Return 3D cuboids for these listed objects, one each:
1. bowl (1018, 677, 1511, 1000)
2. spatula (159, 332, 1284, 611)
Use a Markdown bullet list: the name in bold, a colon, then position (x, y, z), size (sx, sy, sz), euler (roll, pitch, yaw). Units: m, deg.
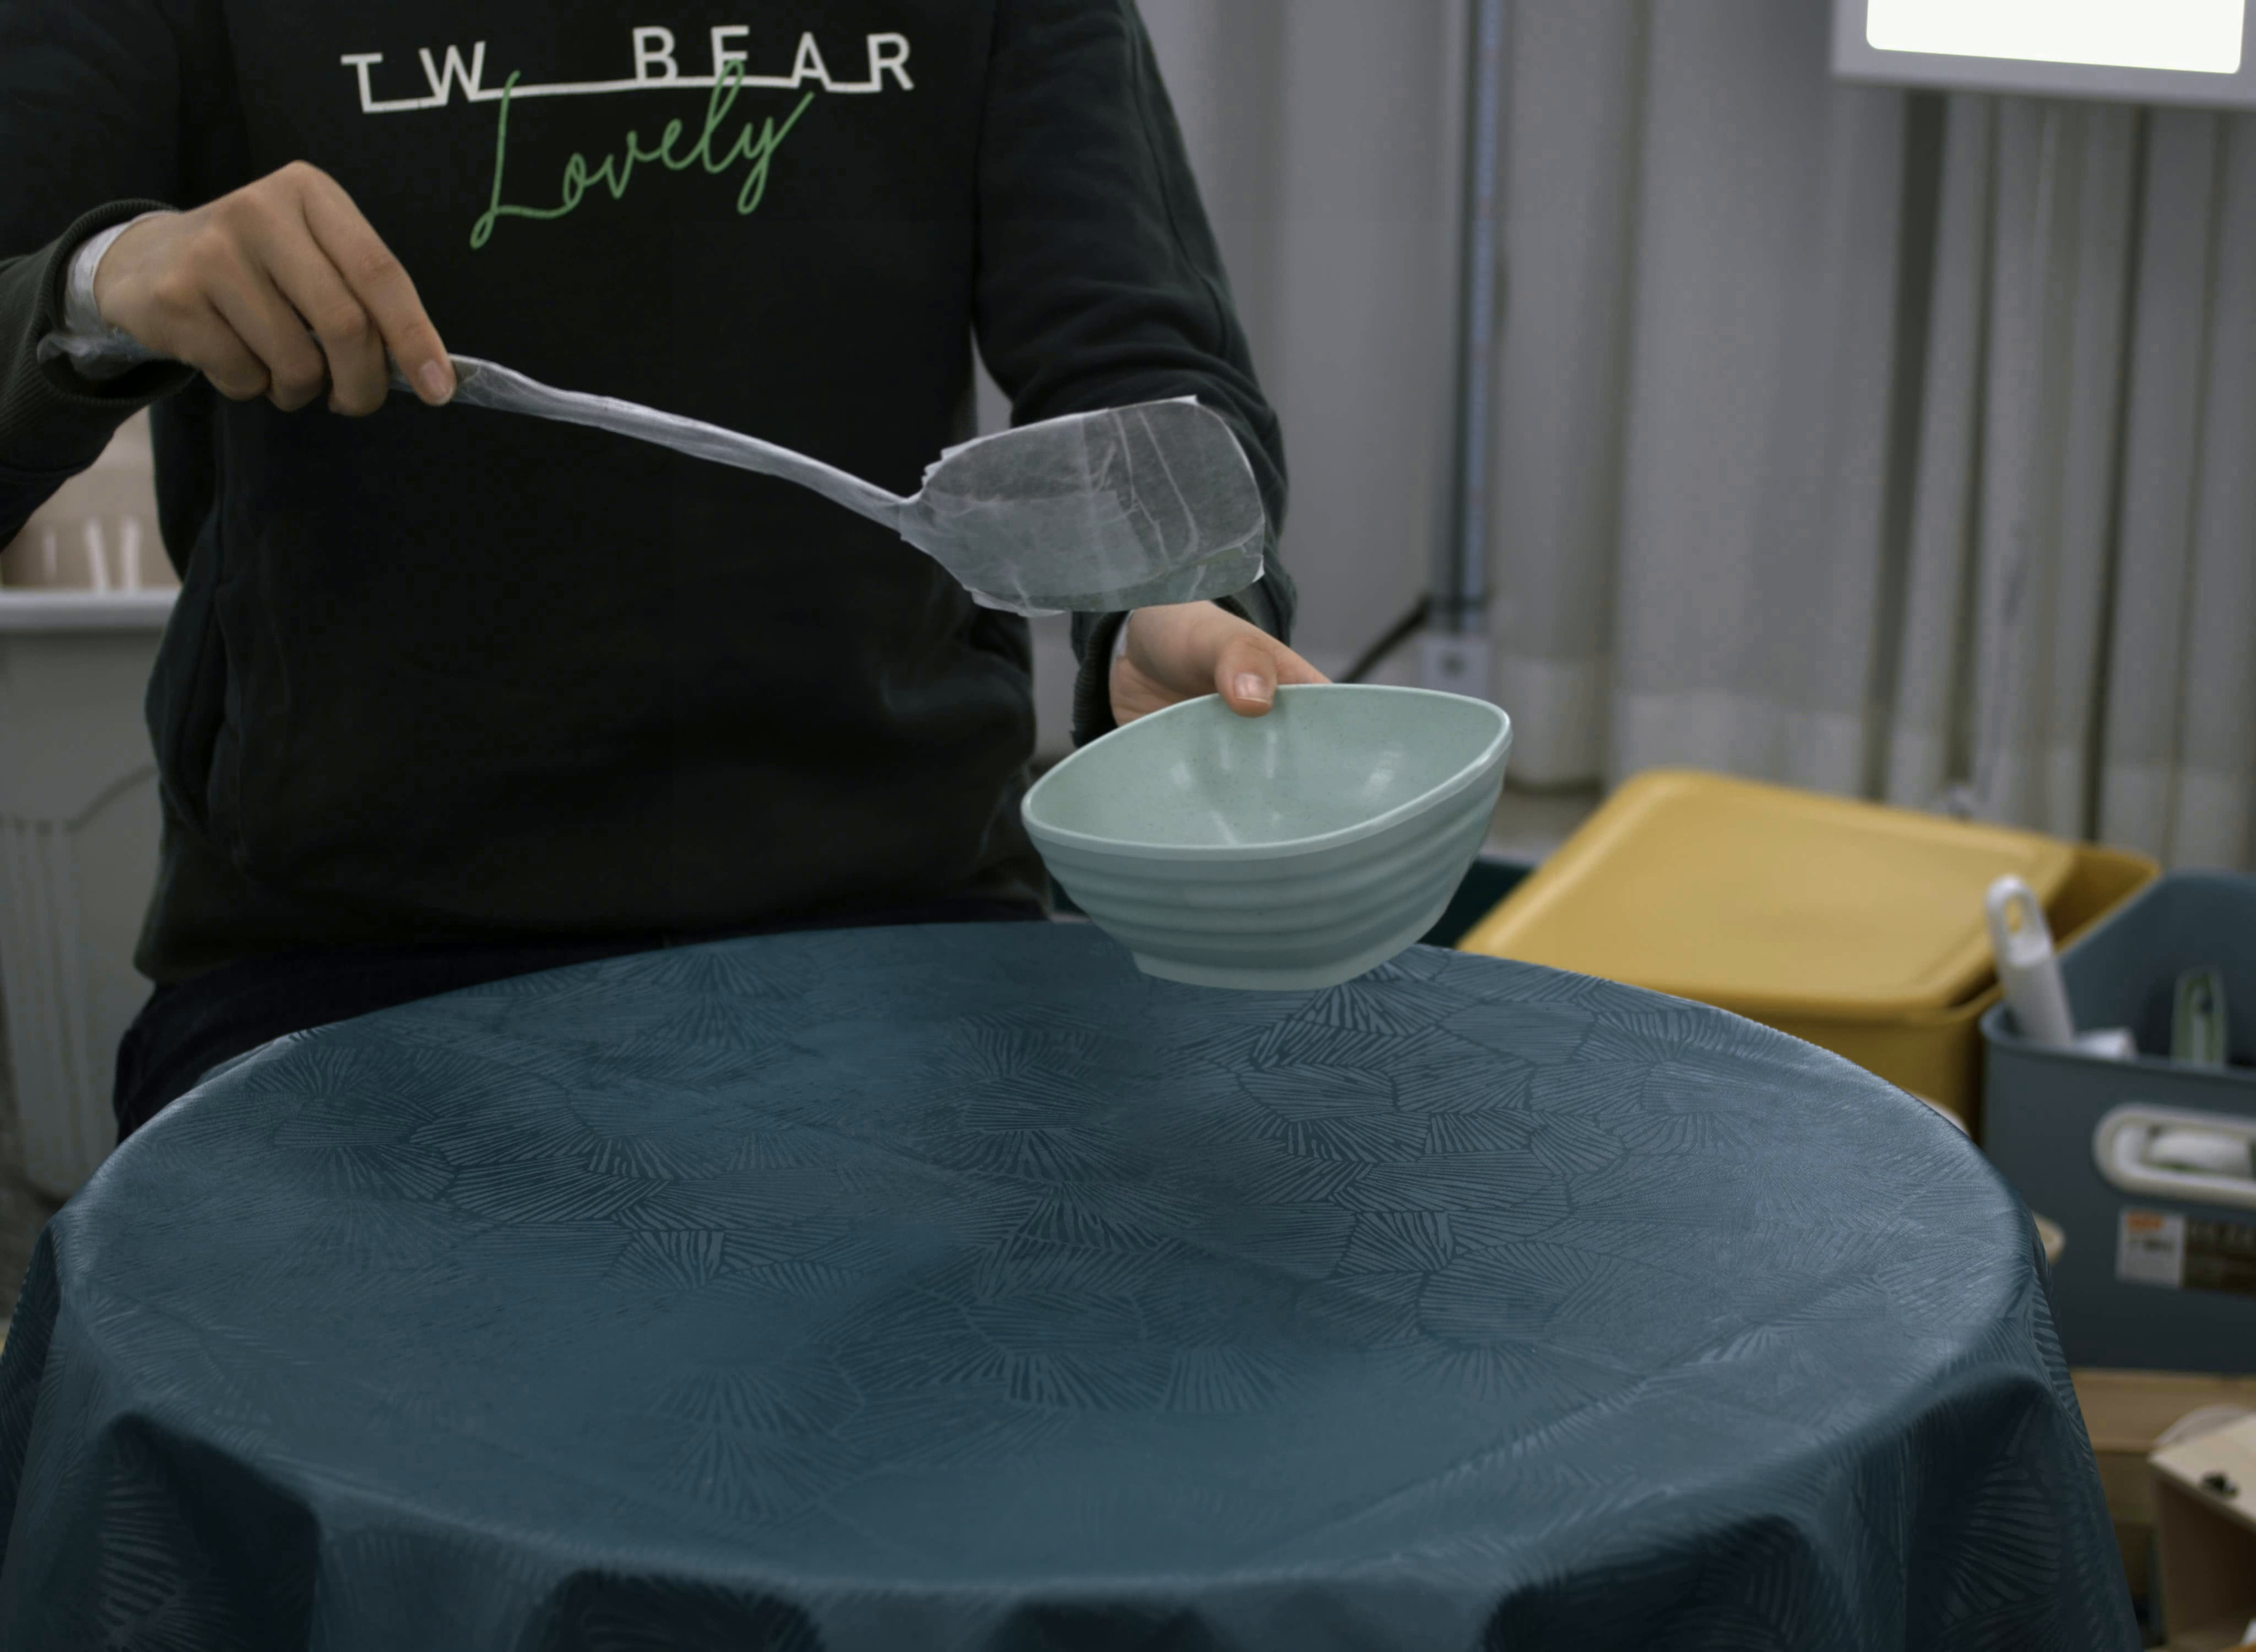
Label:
- **bowl**: position (0.044, 0.008, 1.597), size (0.151, 0.059, 0.150), euler (-6, 22, 3)
- **spatula**: position (-0.131, -0.121, 1.589), size (0.361, 0.100, 0.044), euler (14, 61, 18)
